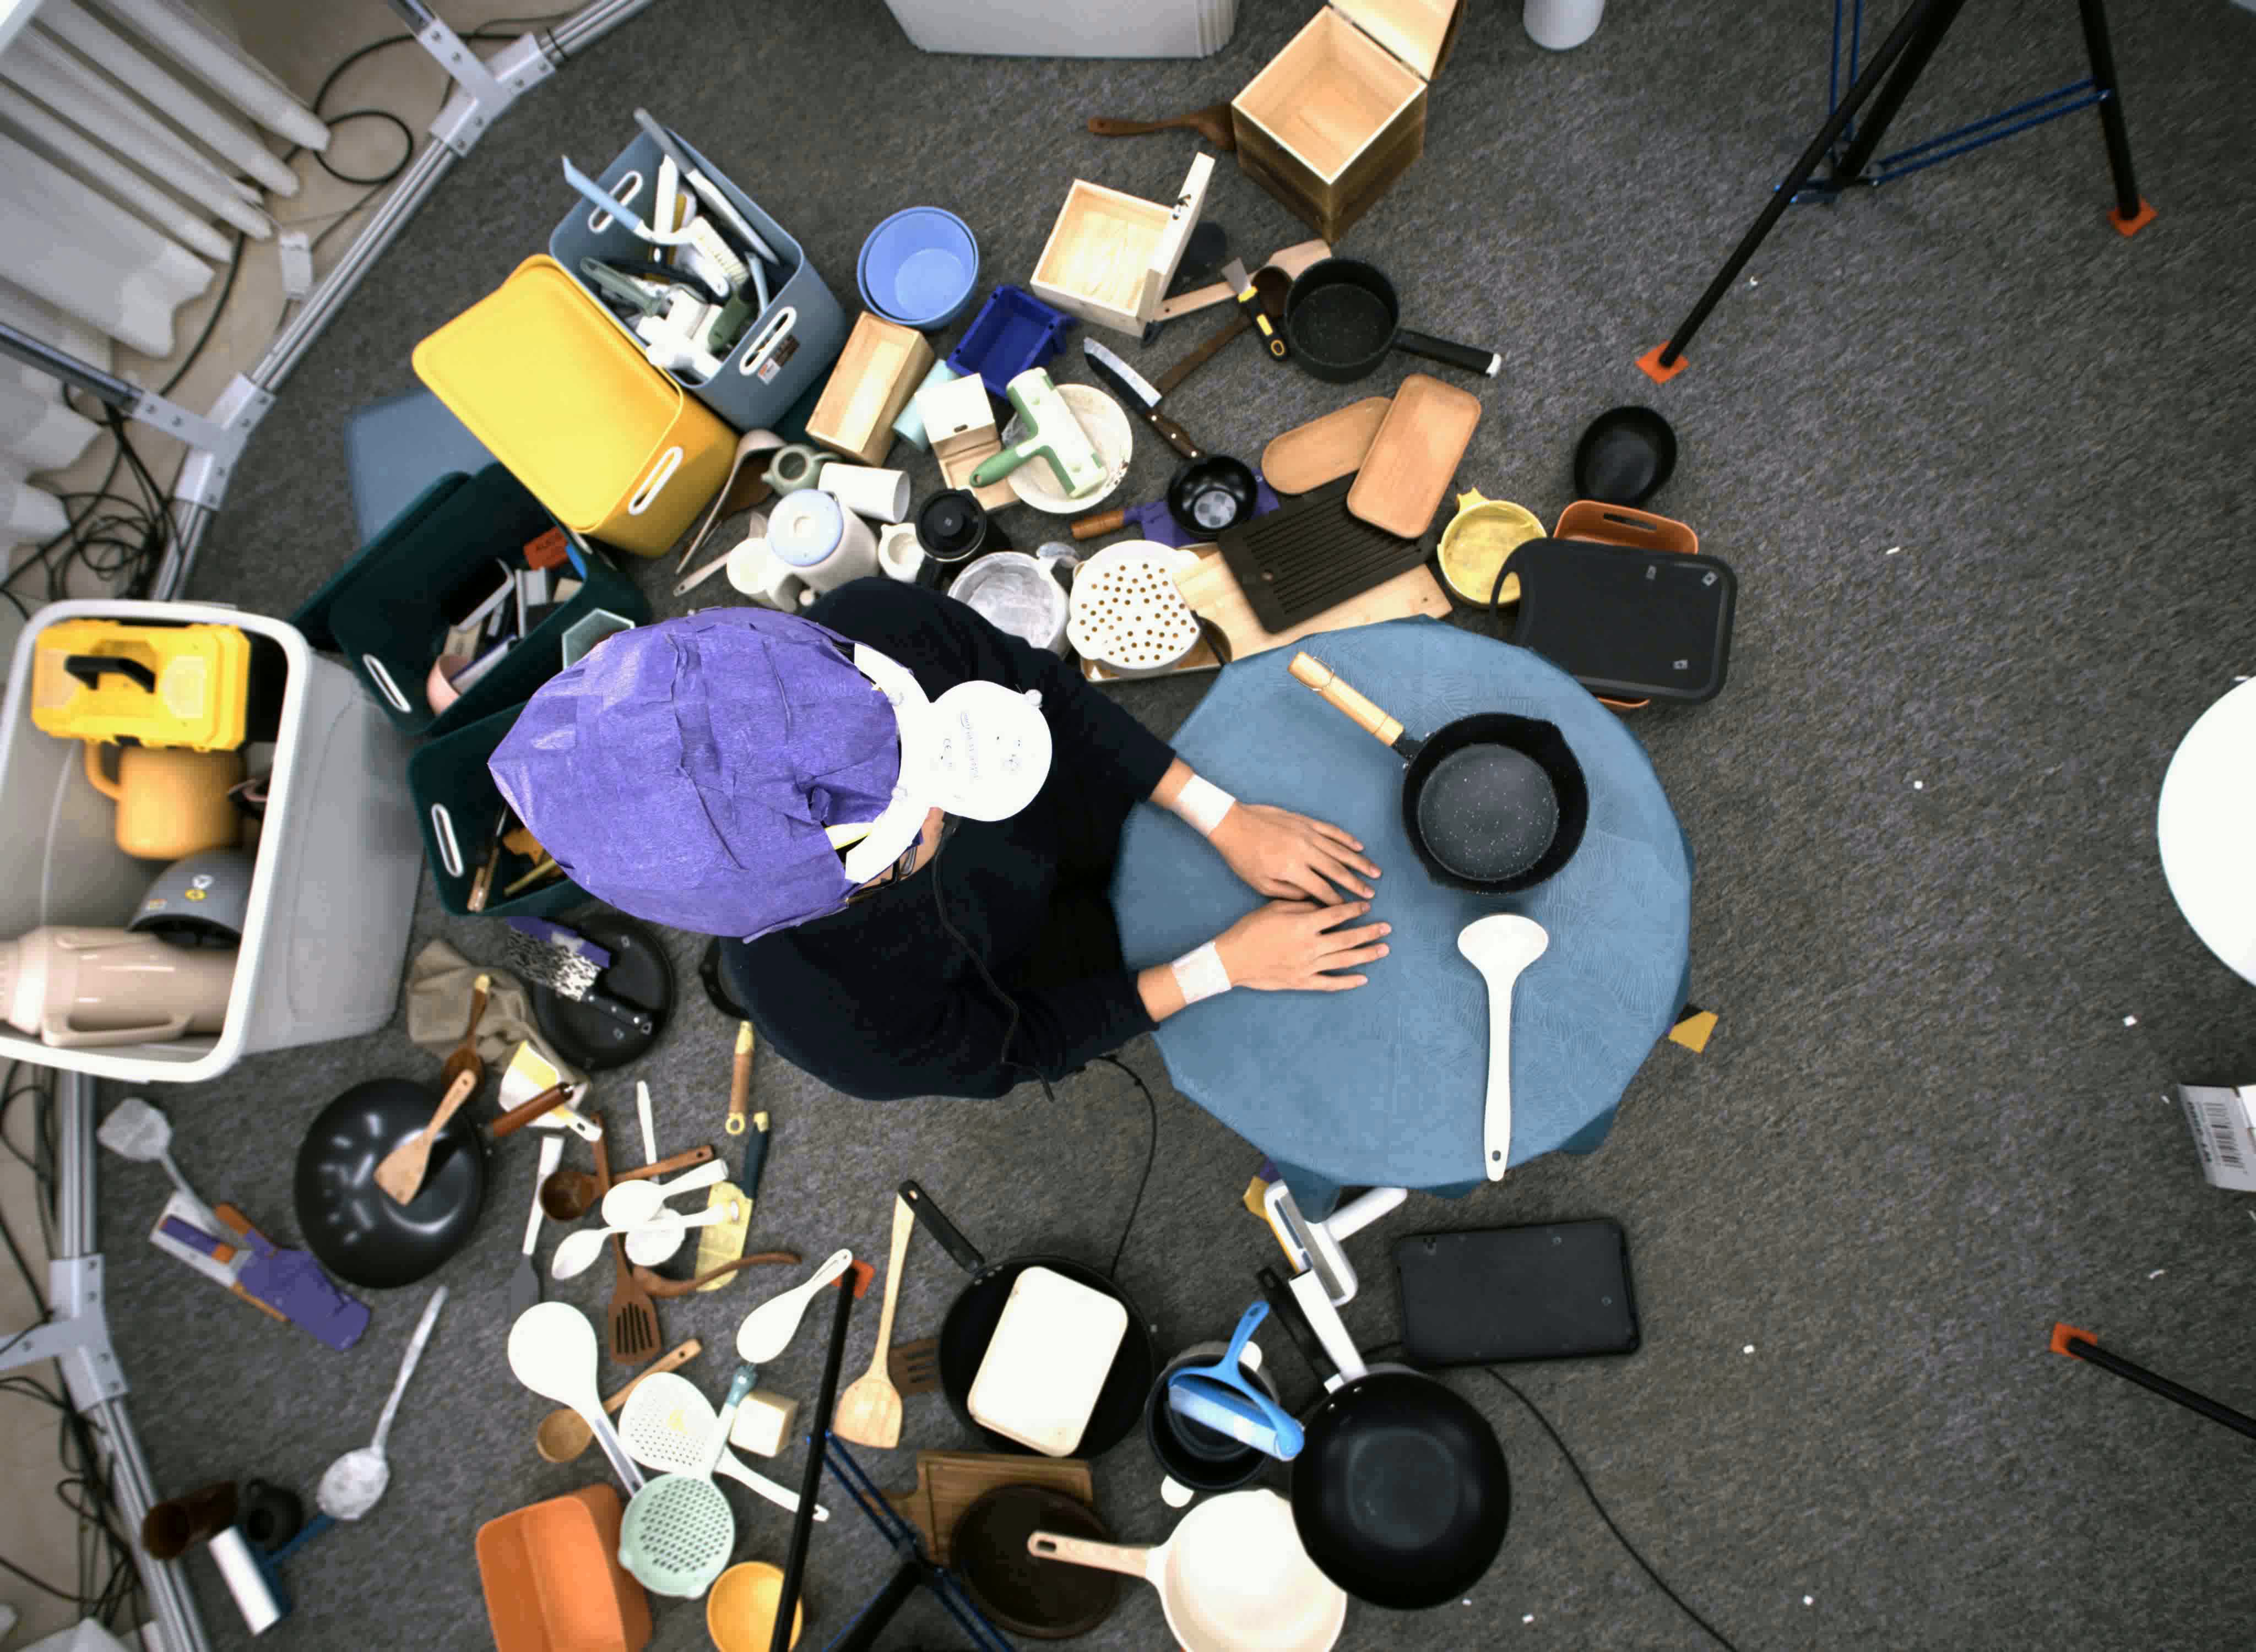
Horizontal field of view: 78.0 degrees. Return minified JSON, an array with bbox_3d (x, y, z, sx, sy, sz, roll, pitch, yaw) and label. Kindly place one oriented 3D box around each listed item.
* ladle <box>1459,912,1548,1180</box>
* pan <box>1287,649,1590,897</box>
[{"bbox_3d":[0.380,0.222,1.397,0.089,0.069,0.274,1,87,3],"label":"ladle"},{"bbox_3d":[0.305,-0.067,1.406,0.342,0.108,0.208,36,94,9],"label":"pan"}]
